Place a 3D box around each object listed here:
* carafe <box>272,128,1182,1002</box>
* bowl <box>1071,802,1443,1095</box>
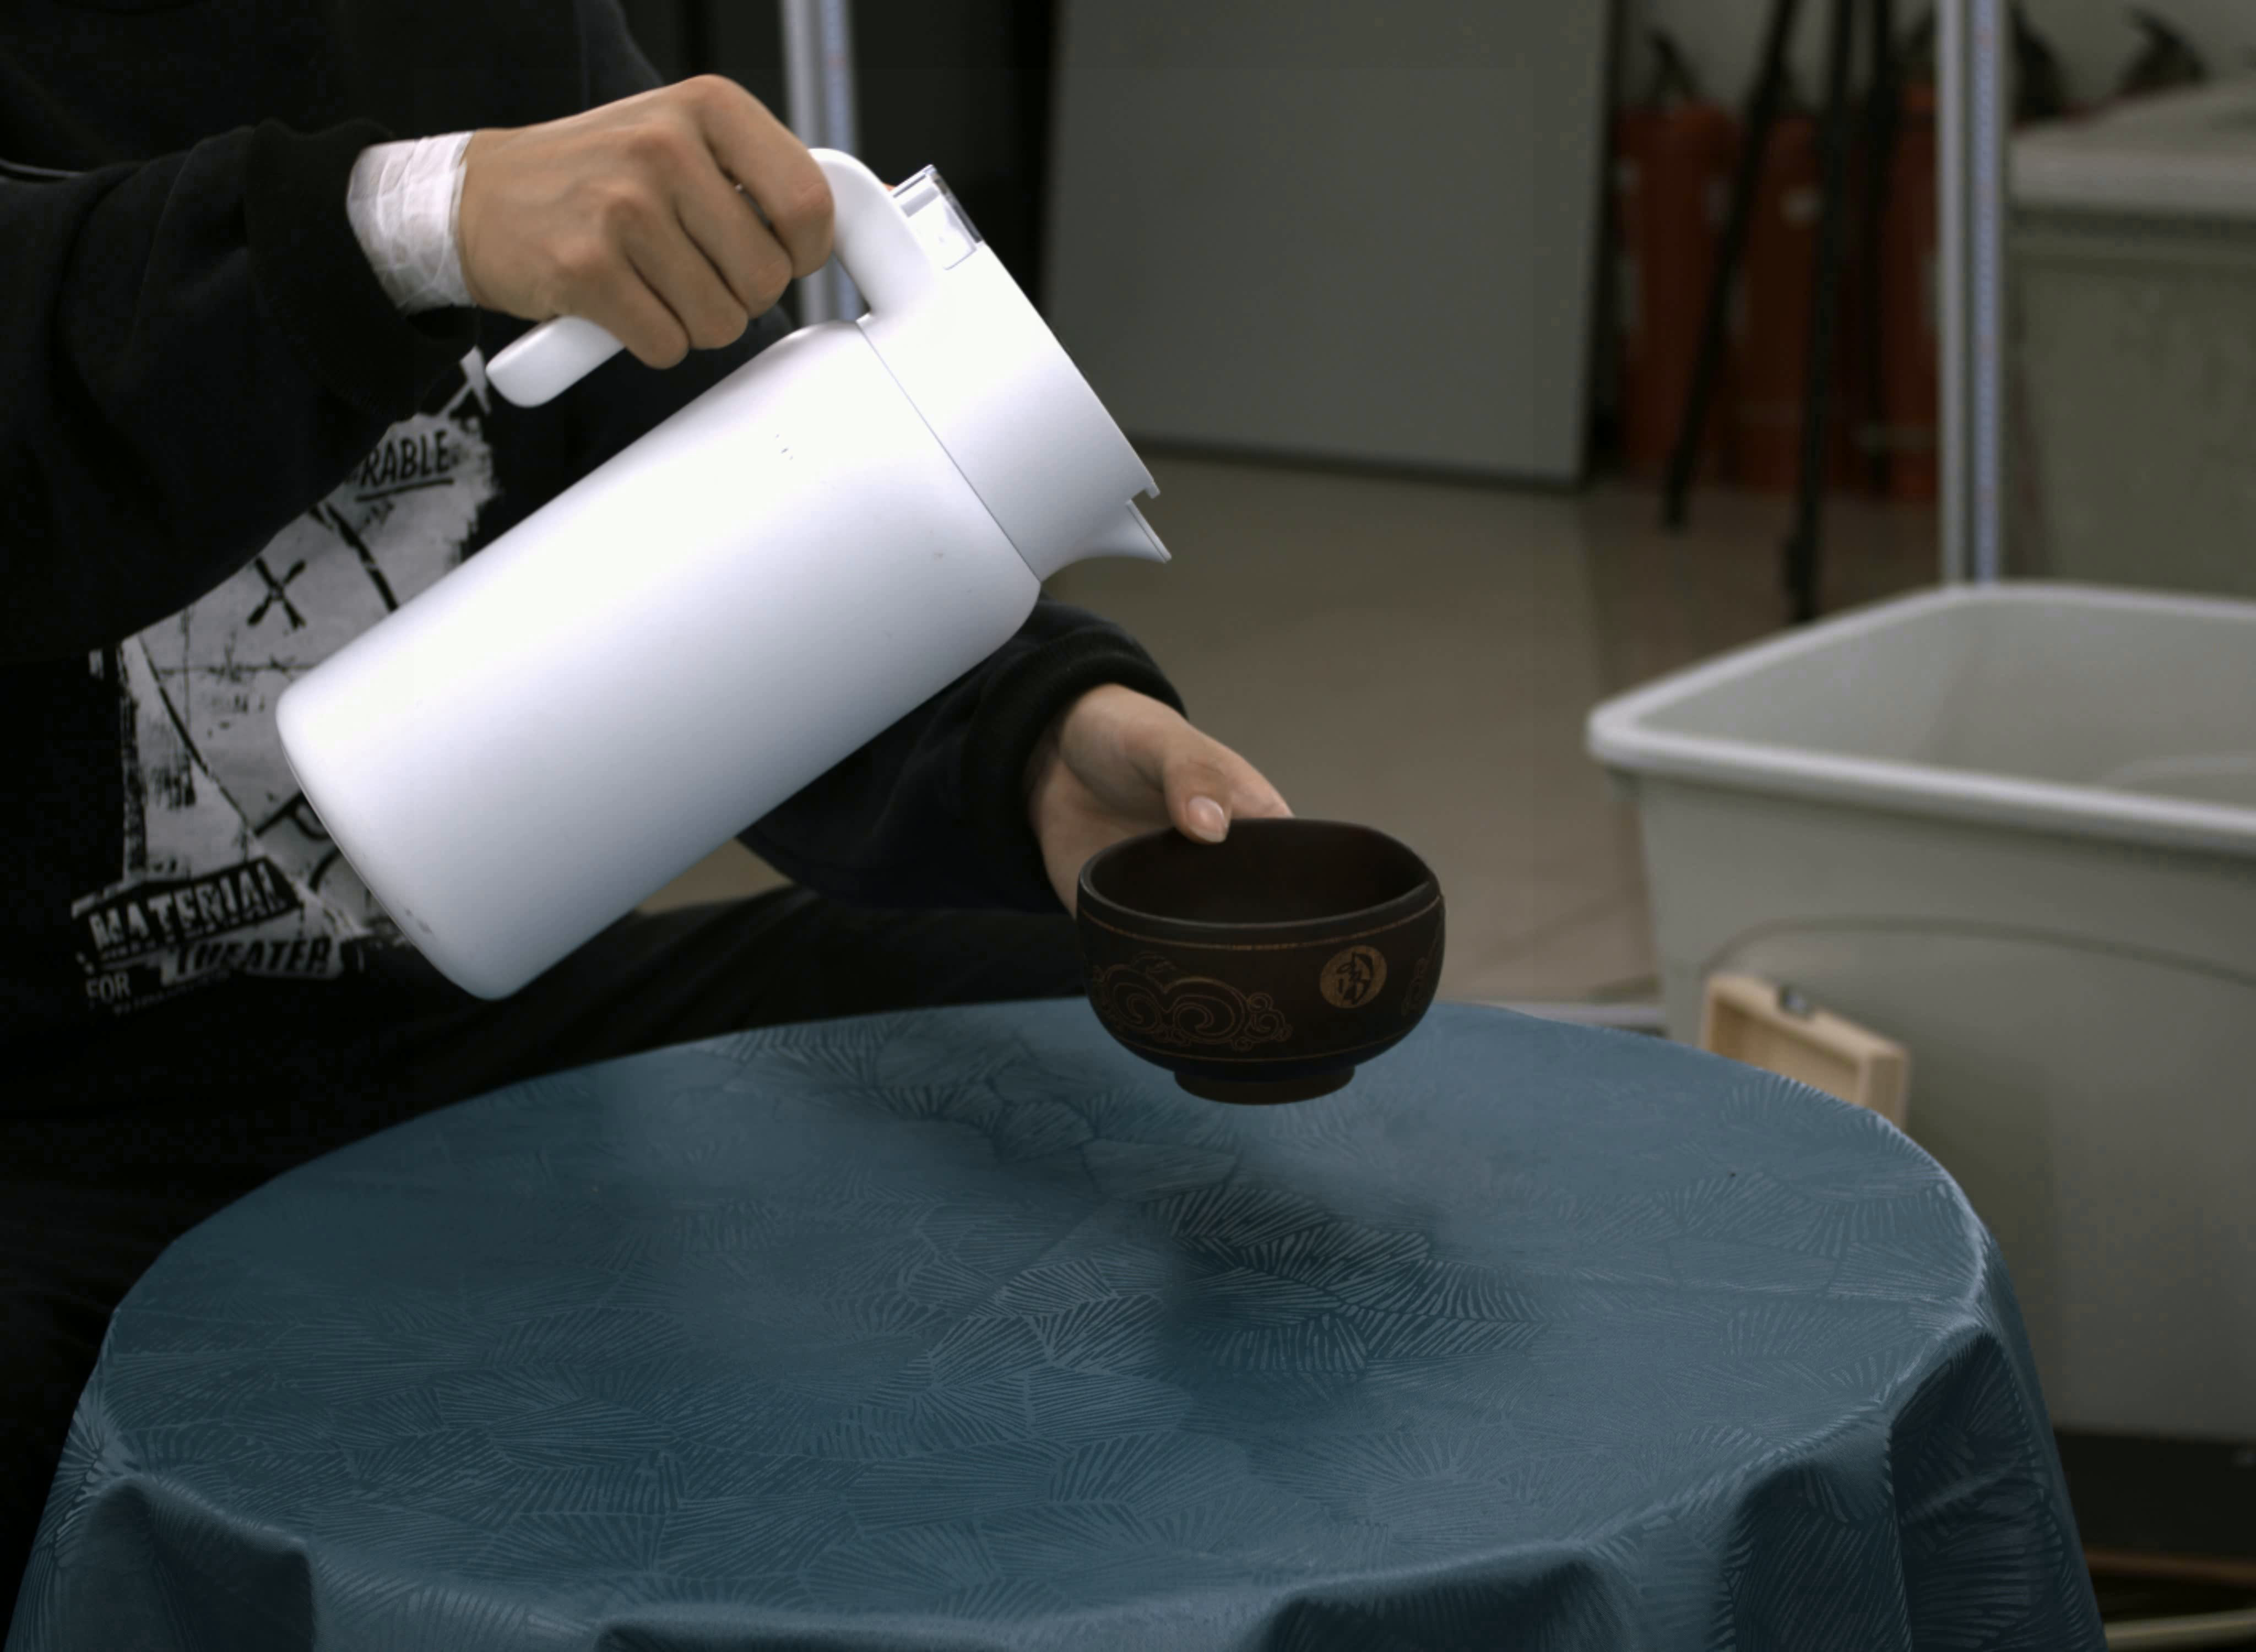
[{"bbox_3d":[-0.135,-0.082,1.653,0.268,0.173,0.124,-36,12,4],"label":"carafe"},{"bbox_3d":[0.041,0.042,1.682,0.116,0.070,0.118,-4,16,0],"label":"bowl"}]
